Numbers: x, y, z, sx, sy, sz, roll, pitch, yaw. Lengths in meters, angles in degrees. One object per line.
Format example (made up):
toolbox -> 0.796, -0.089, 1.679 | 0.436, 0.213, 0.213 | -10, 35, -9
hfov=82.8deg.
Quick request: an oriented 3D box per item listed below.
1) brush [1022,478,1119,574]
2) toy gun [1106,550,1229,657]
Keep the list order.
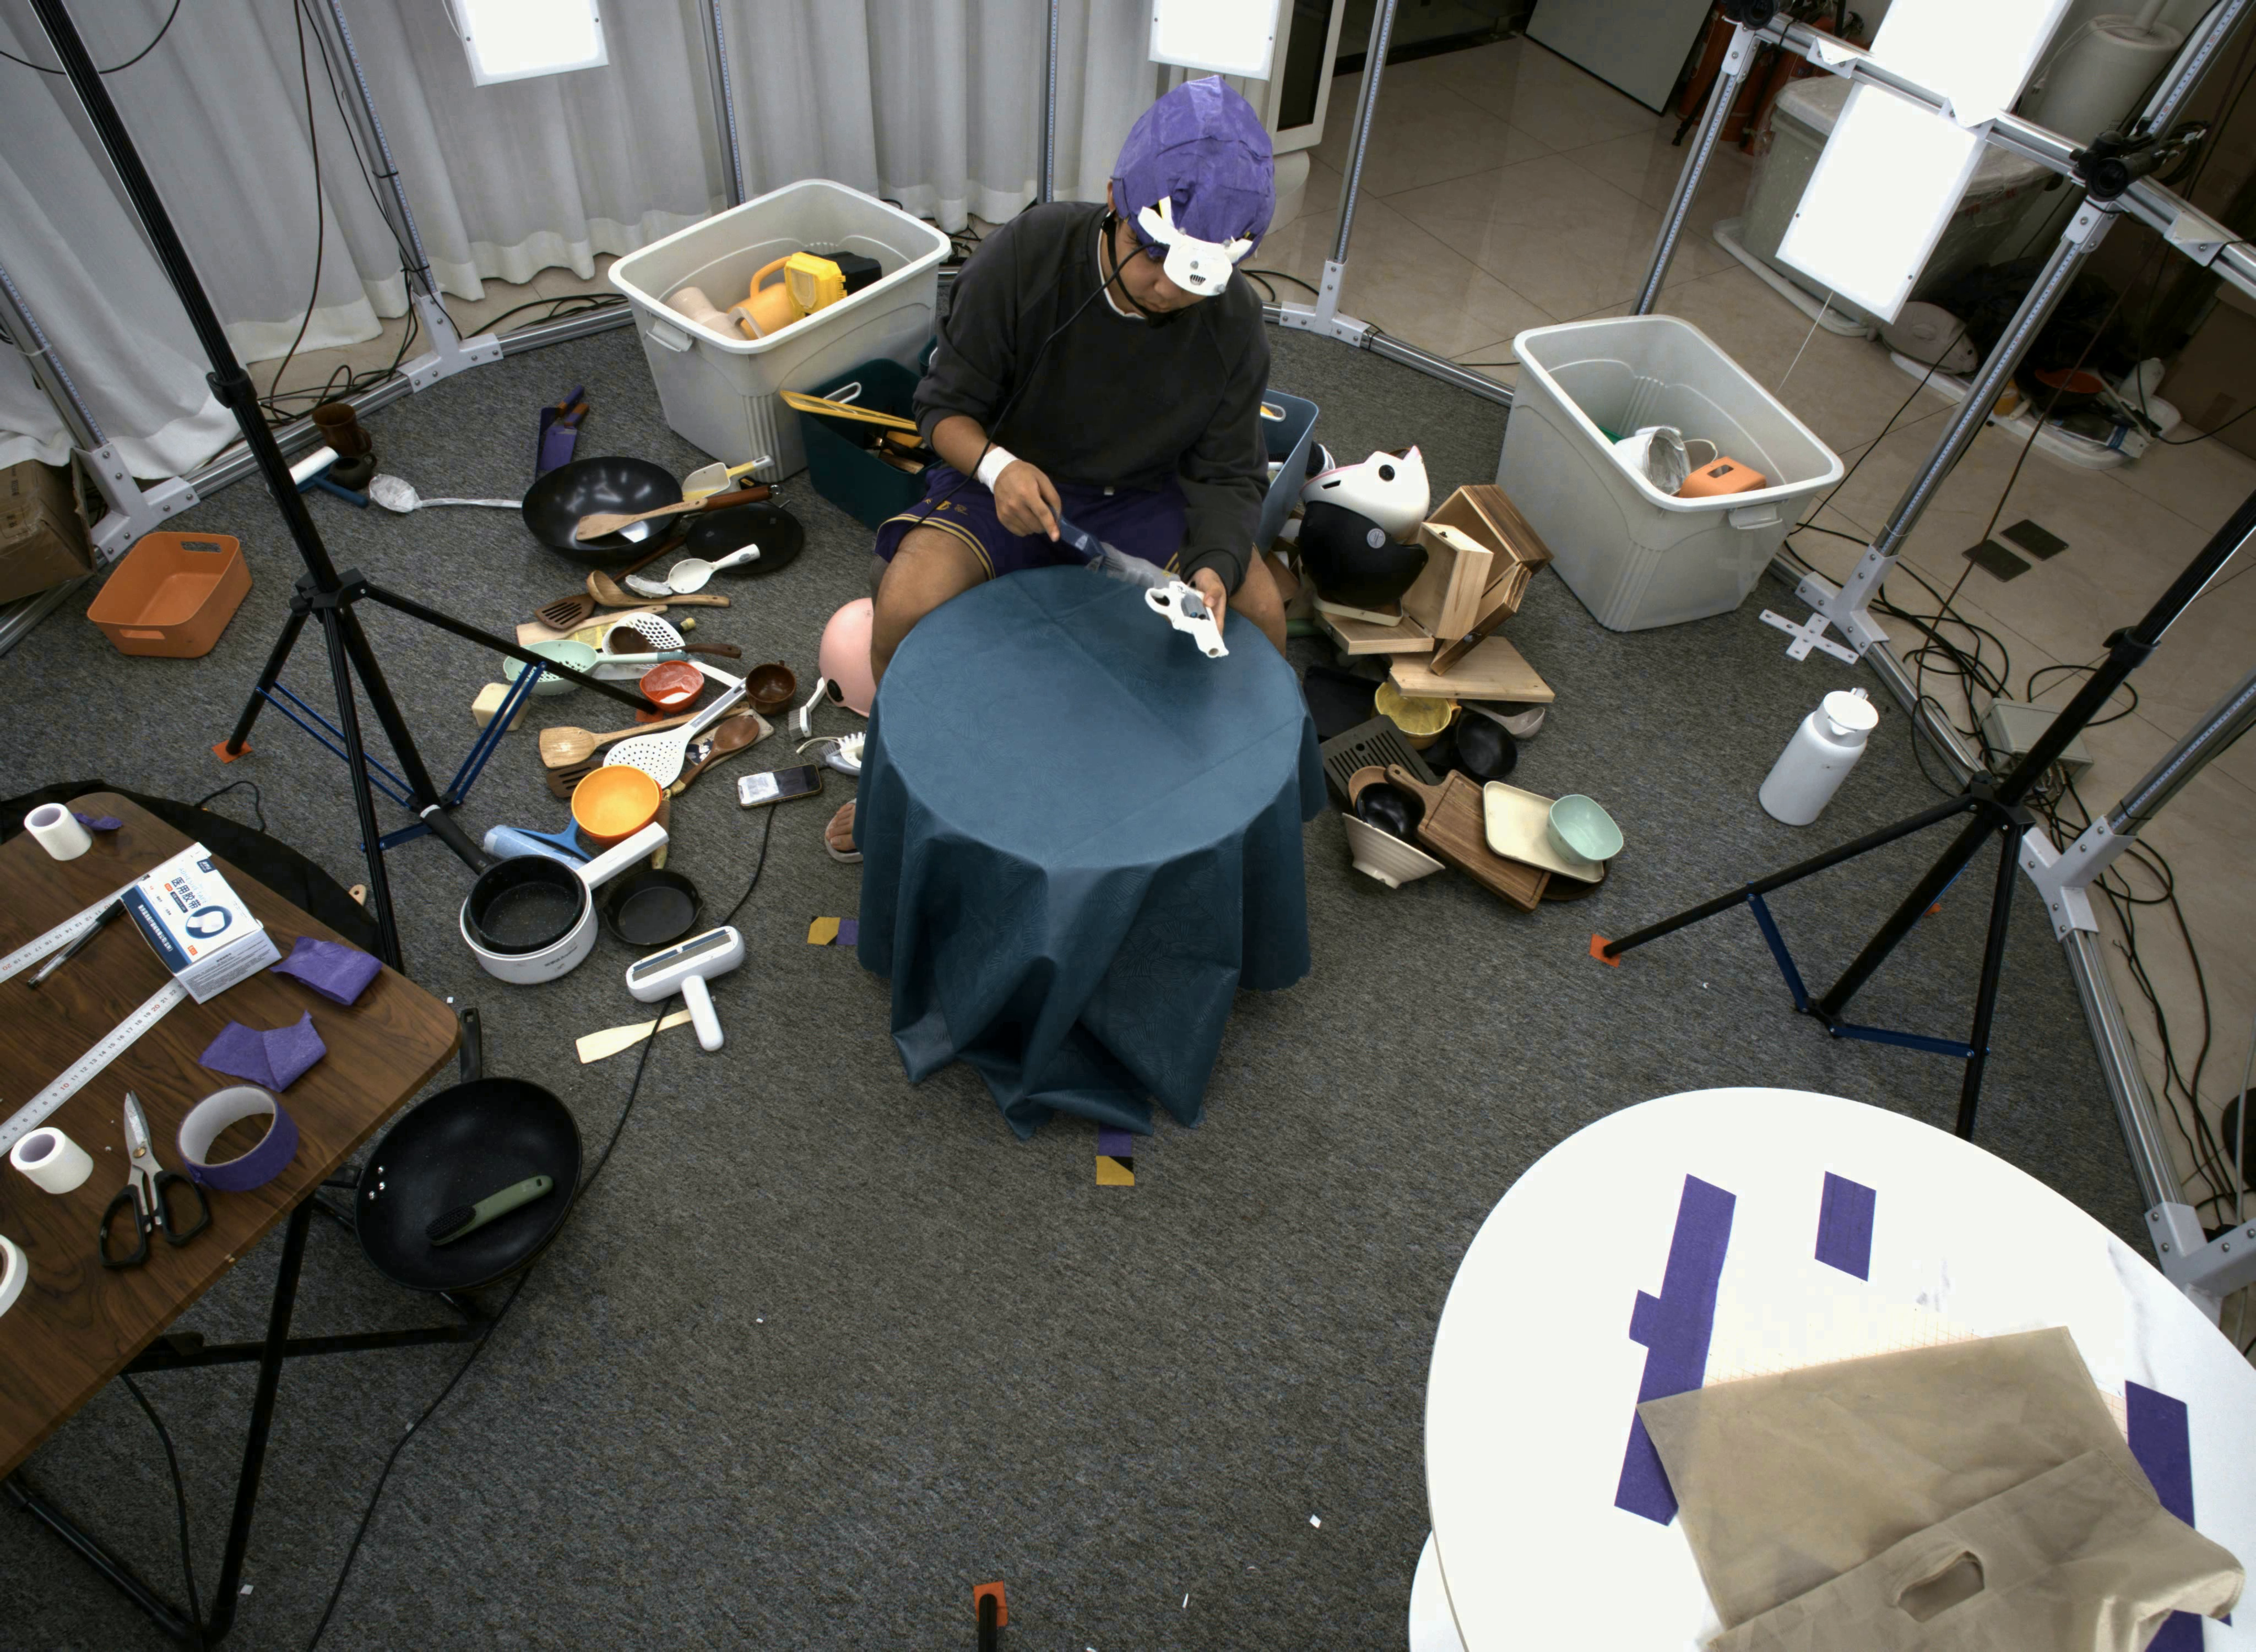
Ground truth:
brush -> -0.099, -0.425, 1.821 | 0.095, 0.033, 0.278 | -5, 37, -39
toy gun -> 0.053, -0.310, 1.778 | 0.141, 0.038, 0.214 | 7, 39, -21
